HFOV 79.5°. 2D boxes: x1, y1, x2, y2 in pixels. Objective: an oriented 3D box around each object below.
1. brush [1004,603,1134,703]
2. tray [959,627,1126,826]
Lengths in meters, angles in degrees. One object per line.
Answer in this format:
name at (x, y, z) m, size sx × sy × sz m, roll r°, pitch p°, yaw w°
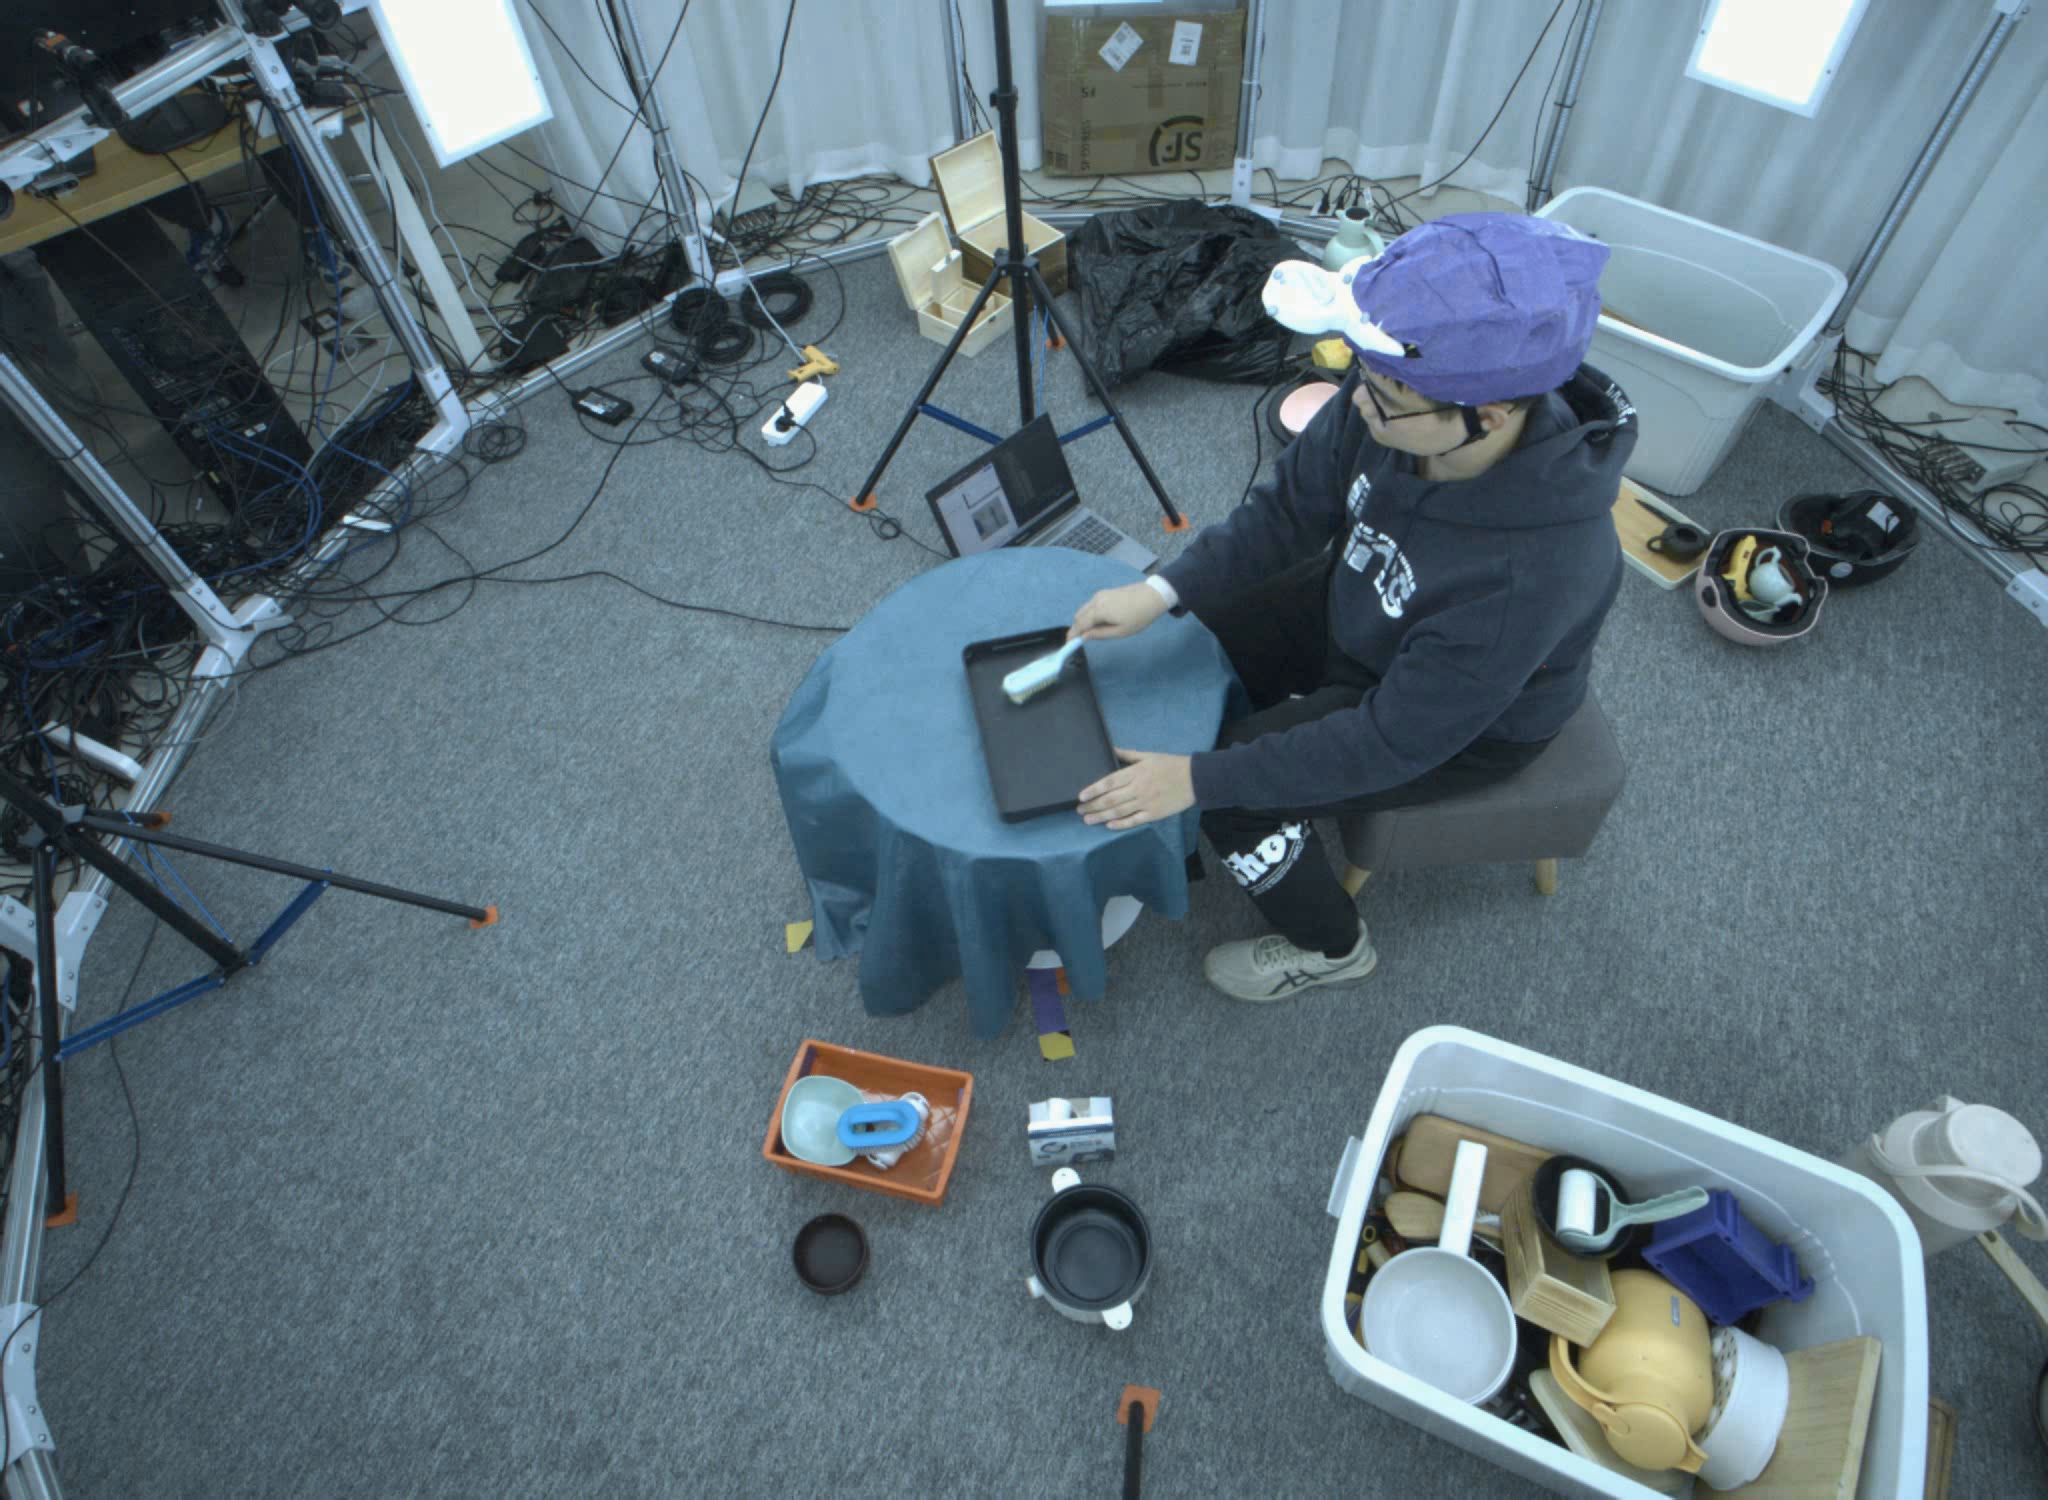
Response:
brush at (0.070, -0.146, 1.833) m, size 0.229 × 0.050 × 0.037 m, roll -38°, pitch 56°, yaw -4°
tray at (0.022, -0.039, 1.793) m, size 0.185 × 0.037 × 0.313 m, roll -11°, pitch 55°, yaw -7°
